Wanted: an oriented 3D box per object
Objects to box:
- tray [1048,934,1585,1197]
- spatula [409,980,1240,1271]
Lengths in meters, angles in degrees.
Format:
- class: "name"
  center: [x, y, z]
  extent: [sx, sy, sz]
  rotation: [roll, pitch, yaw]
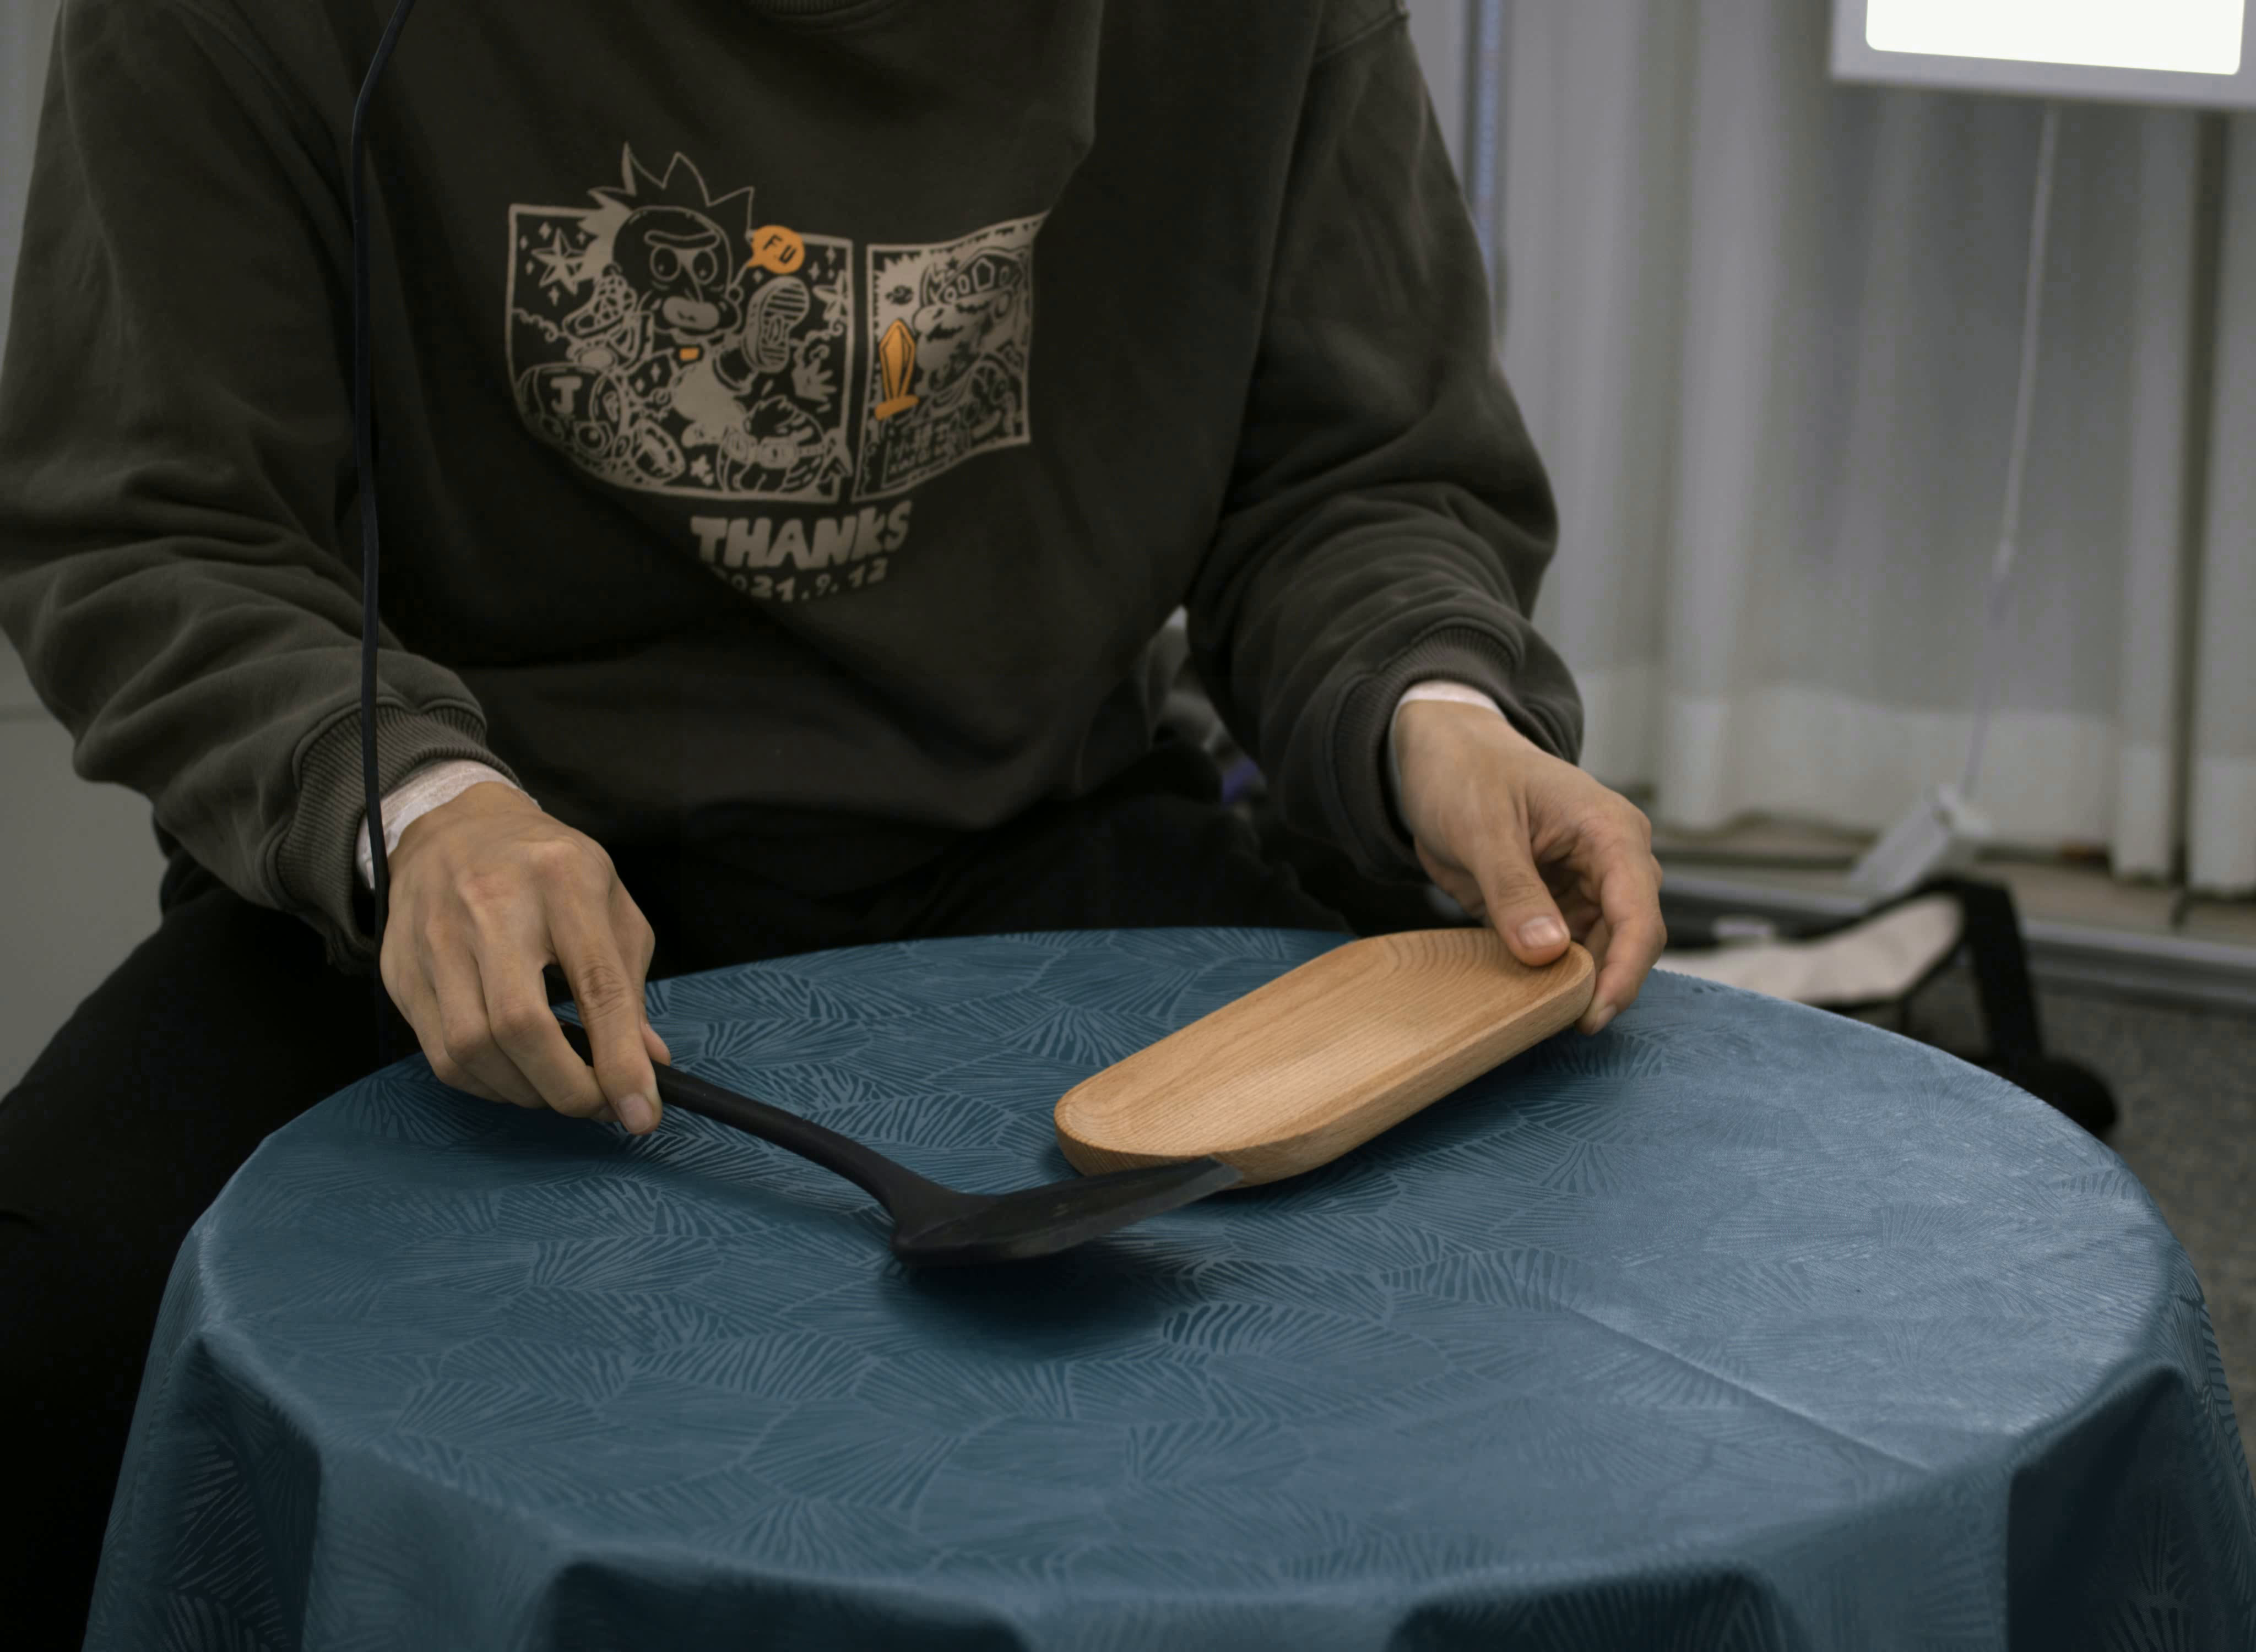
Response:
- class: "tray"
  center: [0.064, 0.076, 1.708]
  extent: [0.100, 0.020, 0.232]
  rotation: [6, 20, 36]
- class: "spatula"
  center: [-0.113, 0.086, 1.625]
  extent: [0.321, 0.040, 0.100]
  rotation: [21, 25, 37]
